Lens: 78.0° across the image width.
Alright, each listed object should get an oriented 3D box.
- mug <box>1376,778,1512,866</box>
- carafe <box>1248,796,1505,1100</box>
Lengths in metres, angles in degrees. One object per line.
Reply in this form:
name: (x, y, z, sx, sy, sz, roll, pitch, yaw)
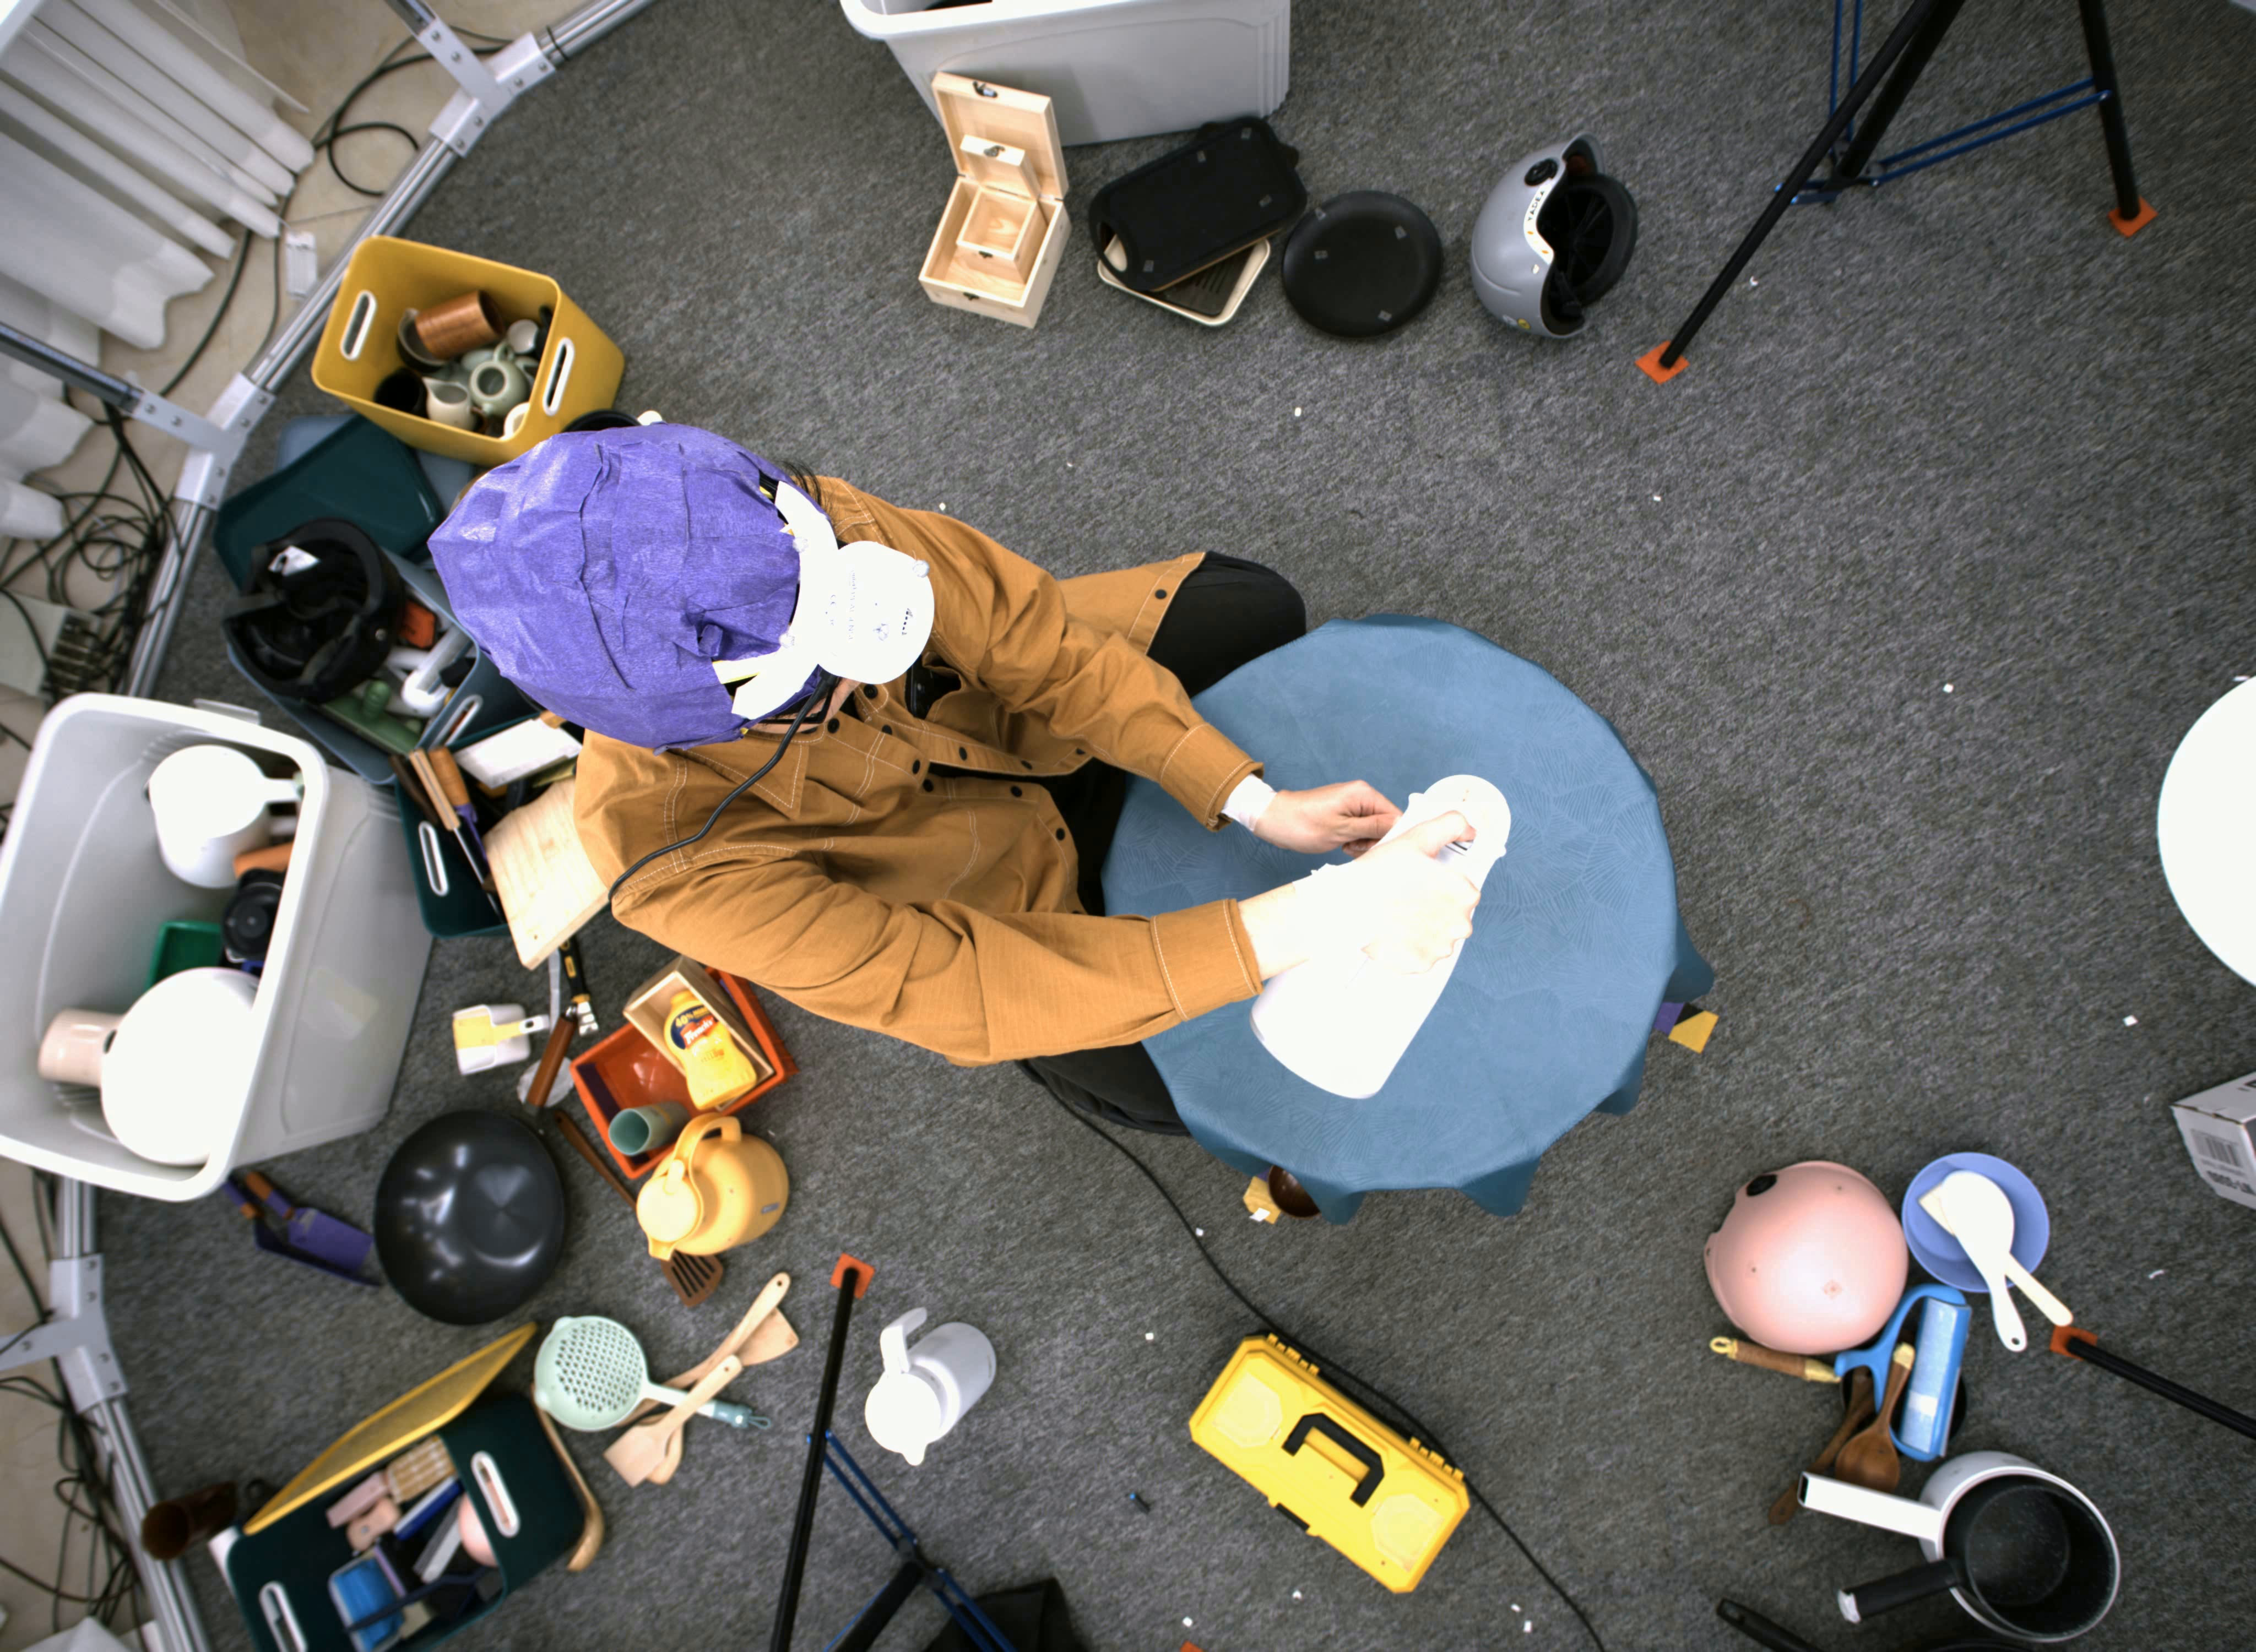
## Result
mug: (0.293, 0.002, 1.297, 0.118, 0.102, 0.084, -6, 87, 5)
carafe: (0.216, 0.101, 1.161, 0.132, 0.165, 0.253, 31, 112, 4)
